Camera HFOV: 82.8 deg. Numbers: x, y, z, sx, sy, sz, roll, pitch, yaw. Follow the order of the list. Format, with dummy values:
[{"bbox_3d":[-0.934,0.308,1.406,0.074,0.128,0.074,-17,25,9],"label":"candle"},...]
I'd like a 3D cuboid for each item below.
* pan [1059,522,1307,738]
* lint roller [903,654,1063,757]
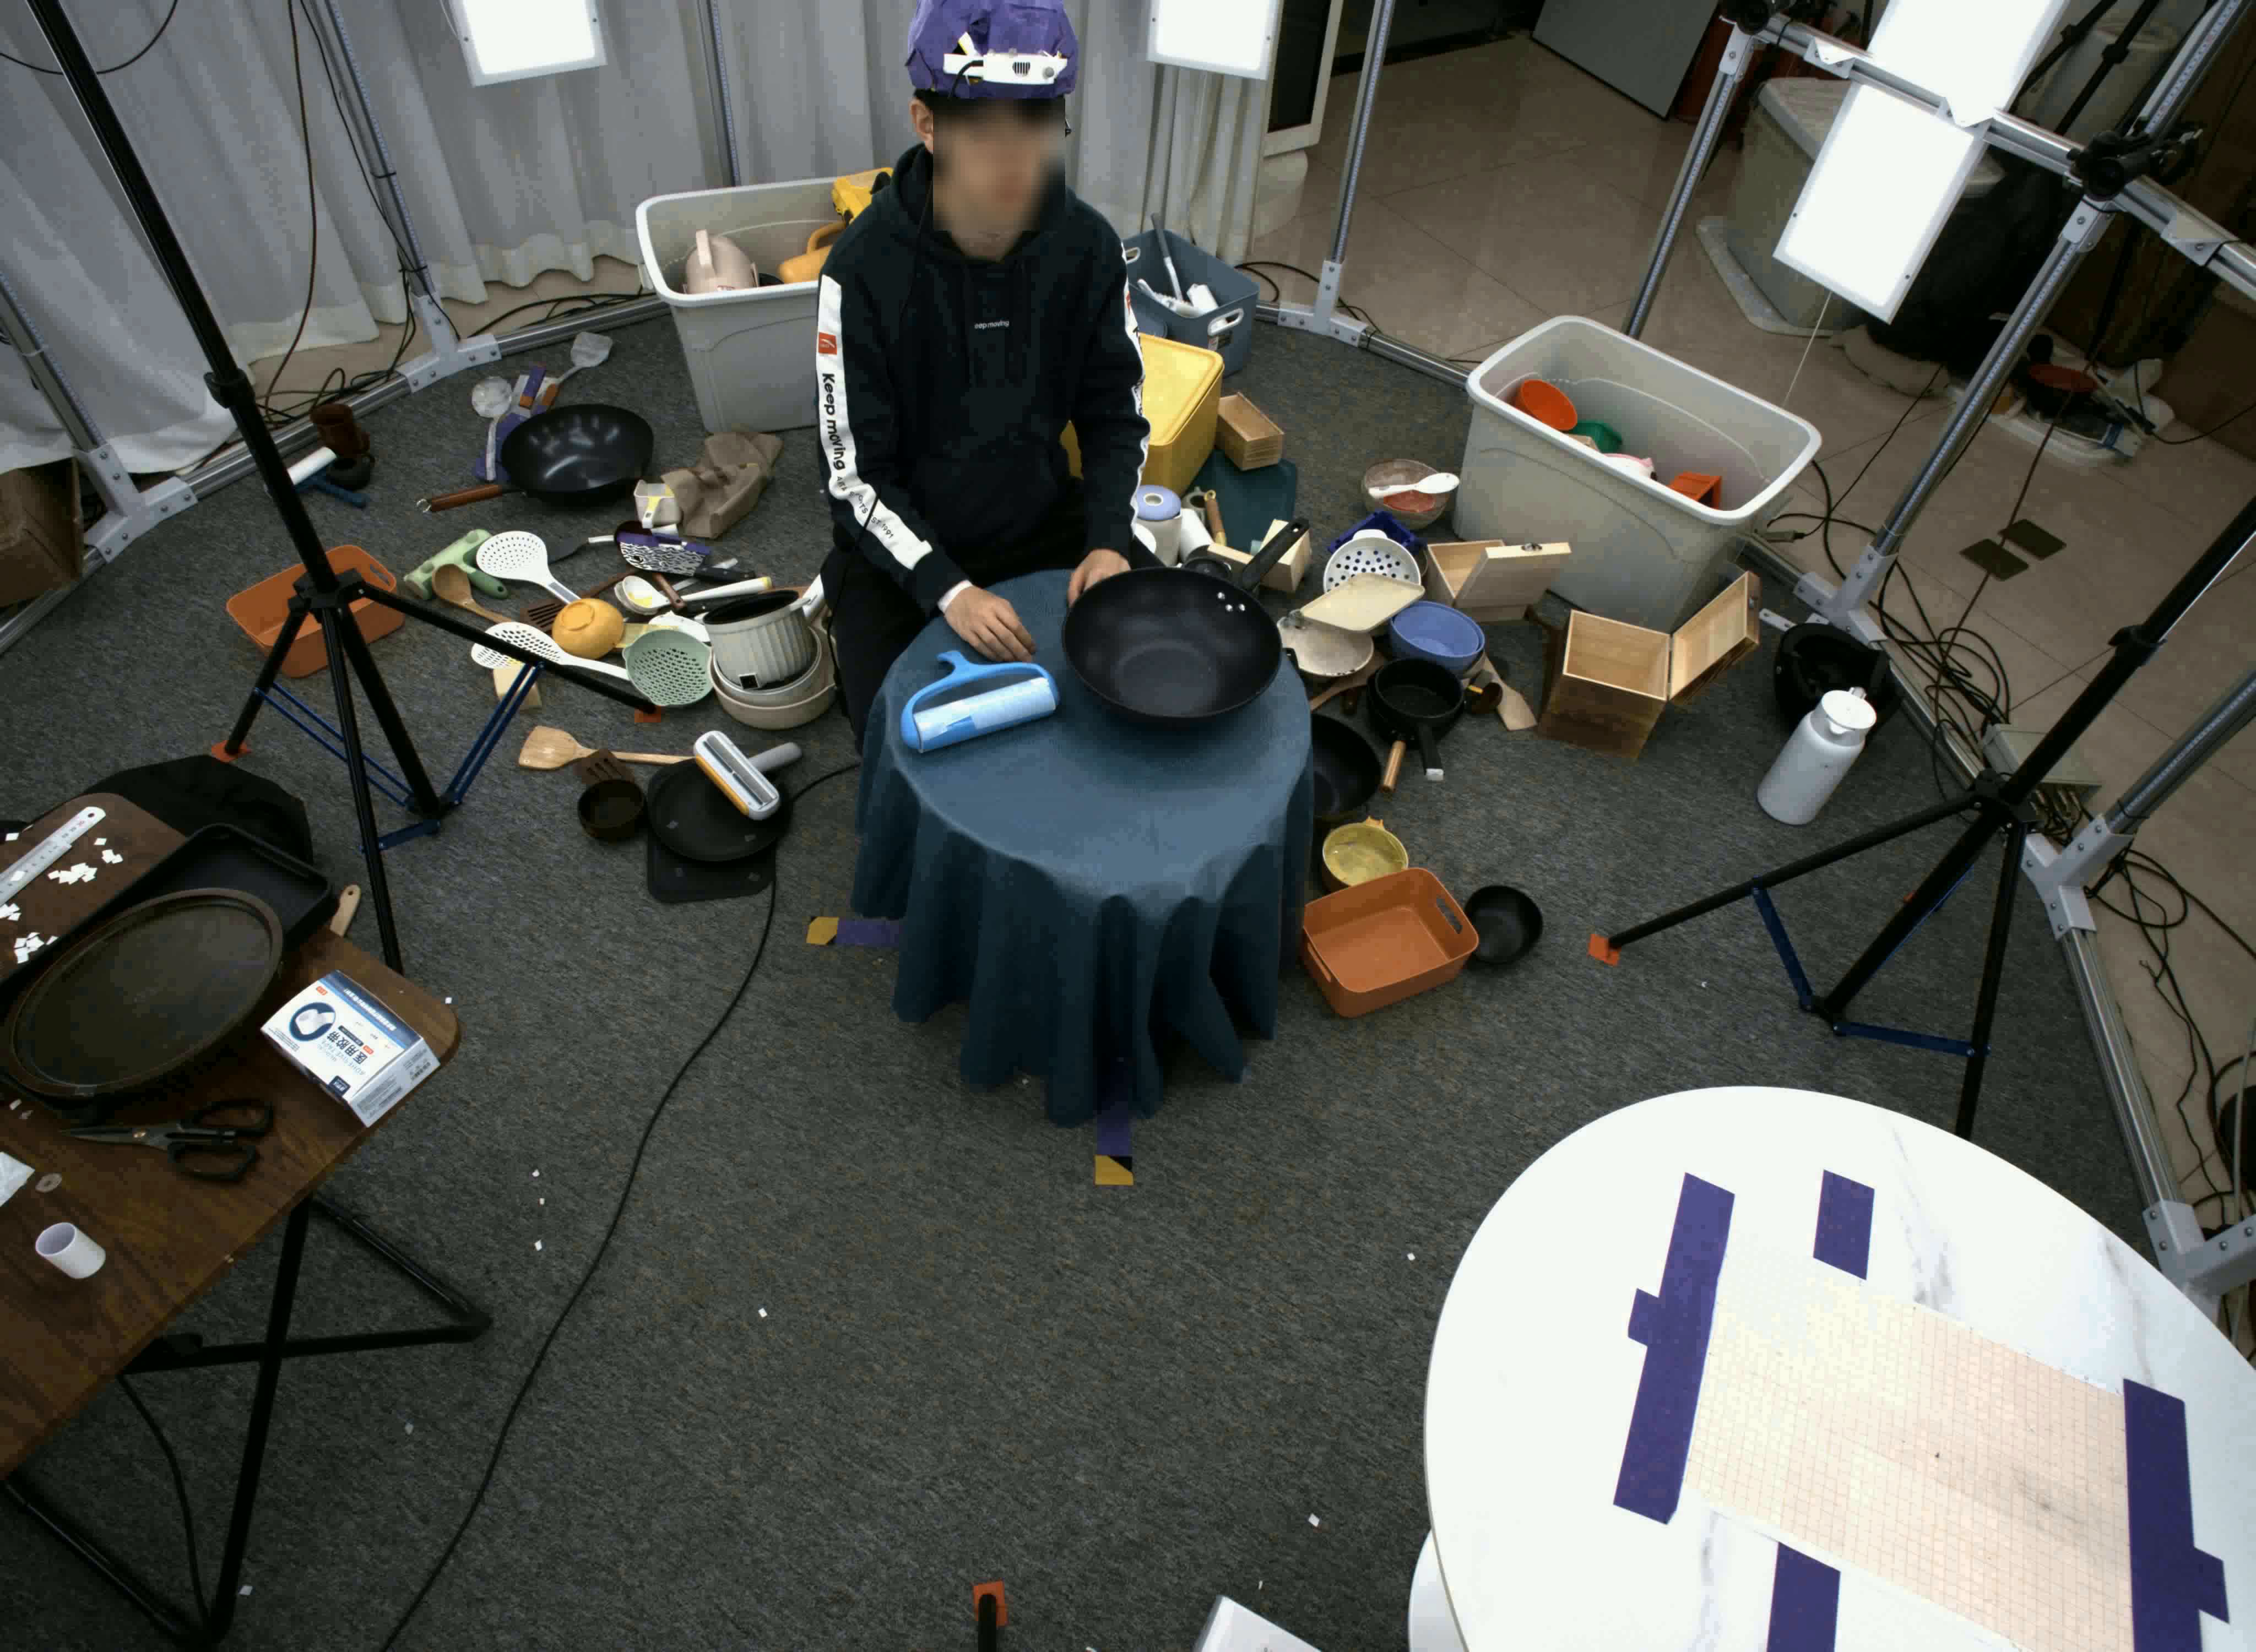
[{"bbox_3d":[0.109,-0.285,1.854,0.314,0.109,0.482,34,55,21],"label":"pan"},{"bbox_3d":[-0.224,-0.193,1.785,0.229,0.066,0.184,-23,56,-19],"label":"lint roller"}]
